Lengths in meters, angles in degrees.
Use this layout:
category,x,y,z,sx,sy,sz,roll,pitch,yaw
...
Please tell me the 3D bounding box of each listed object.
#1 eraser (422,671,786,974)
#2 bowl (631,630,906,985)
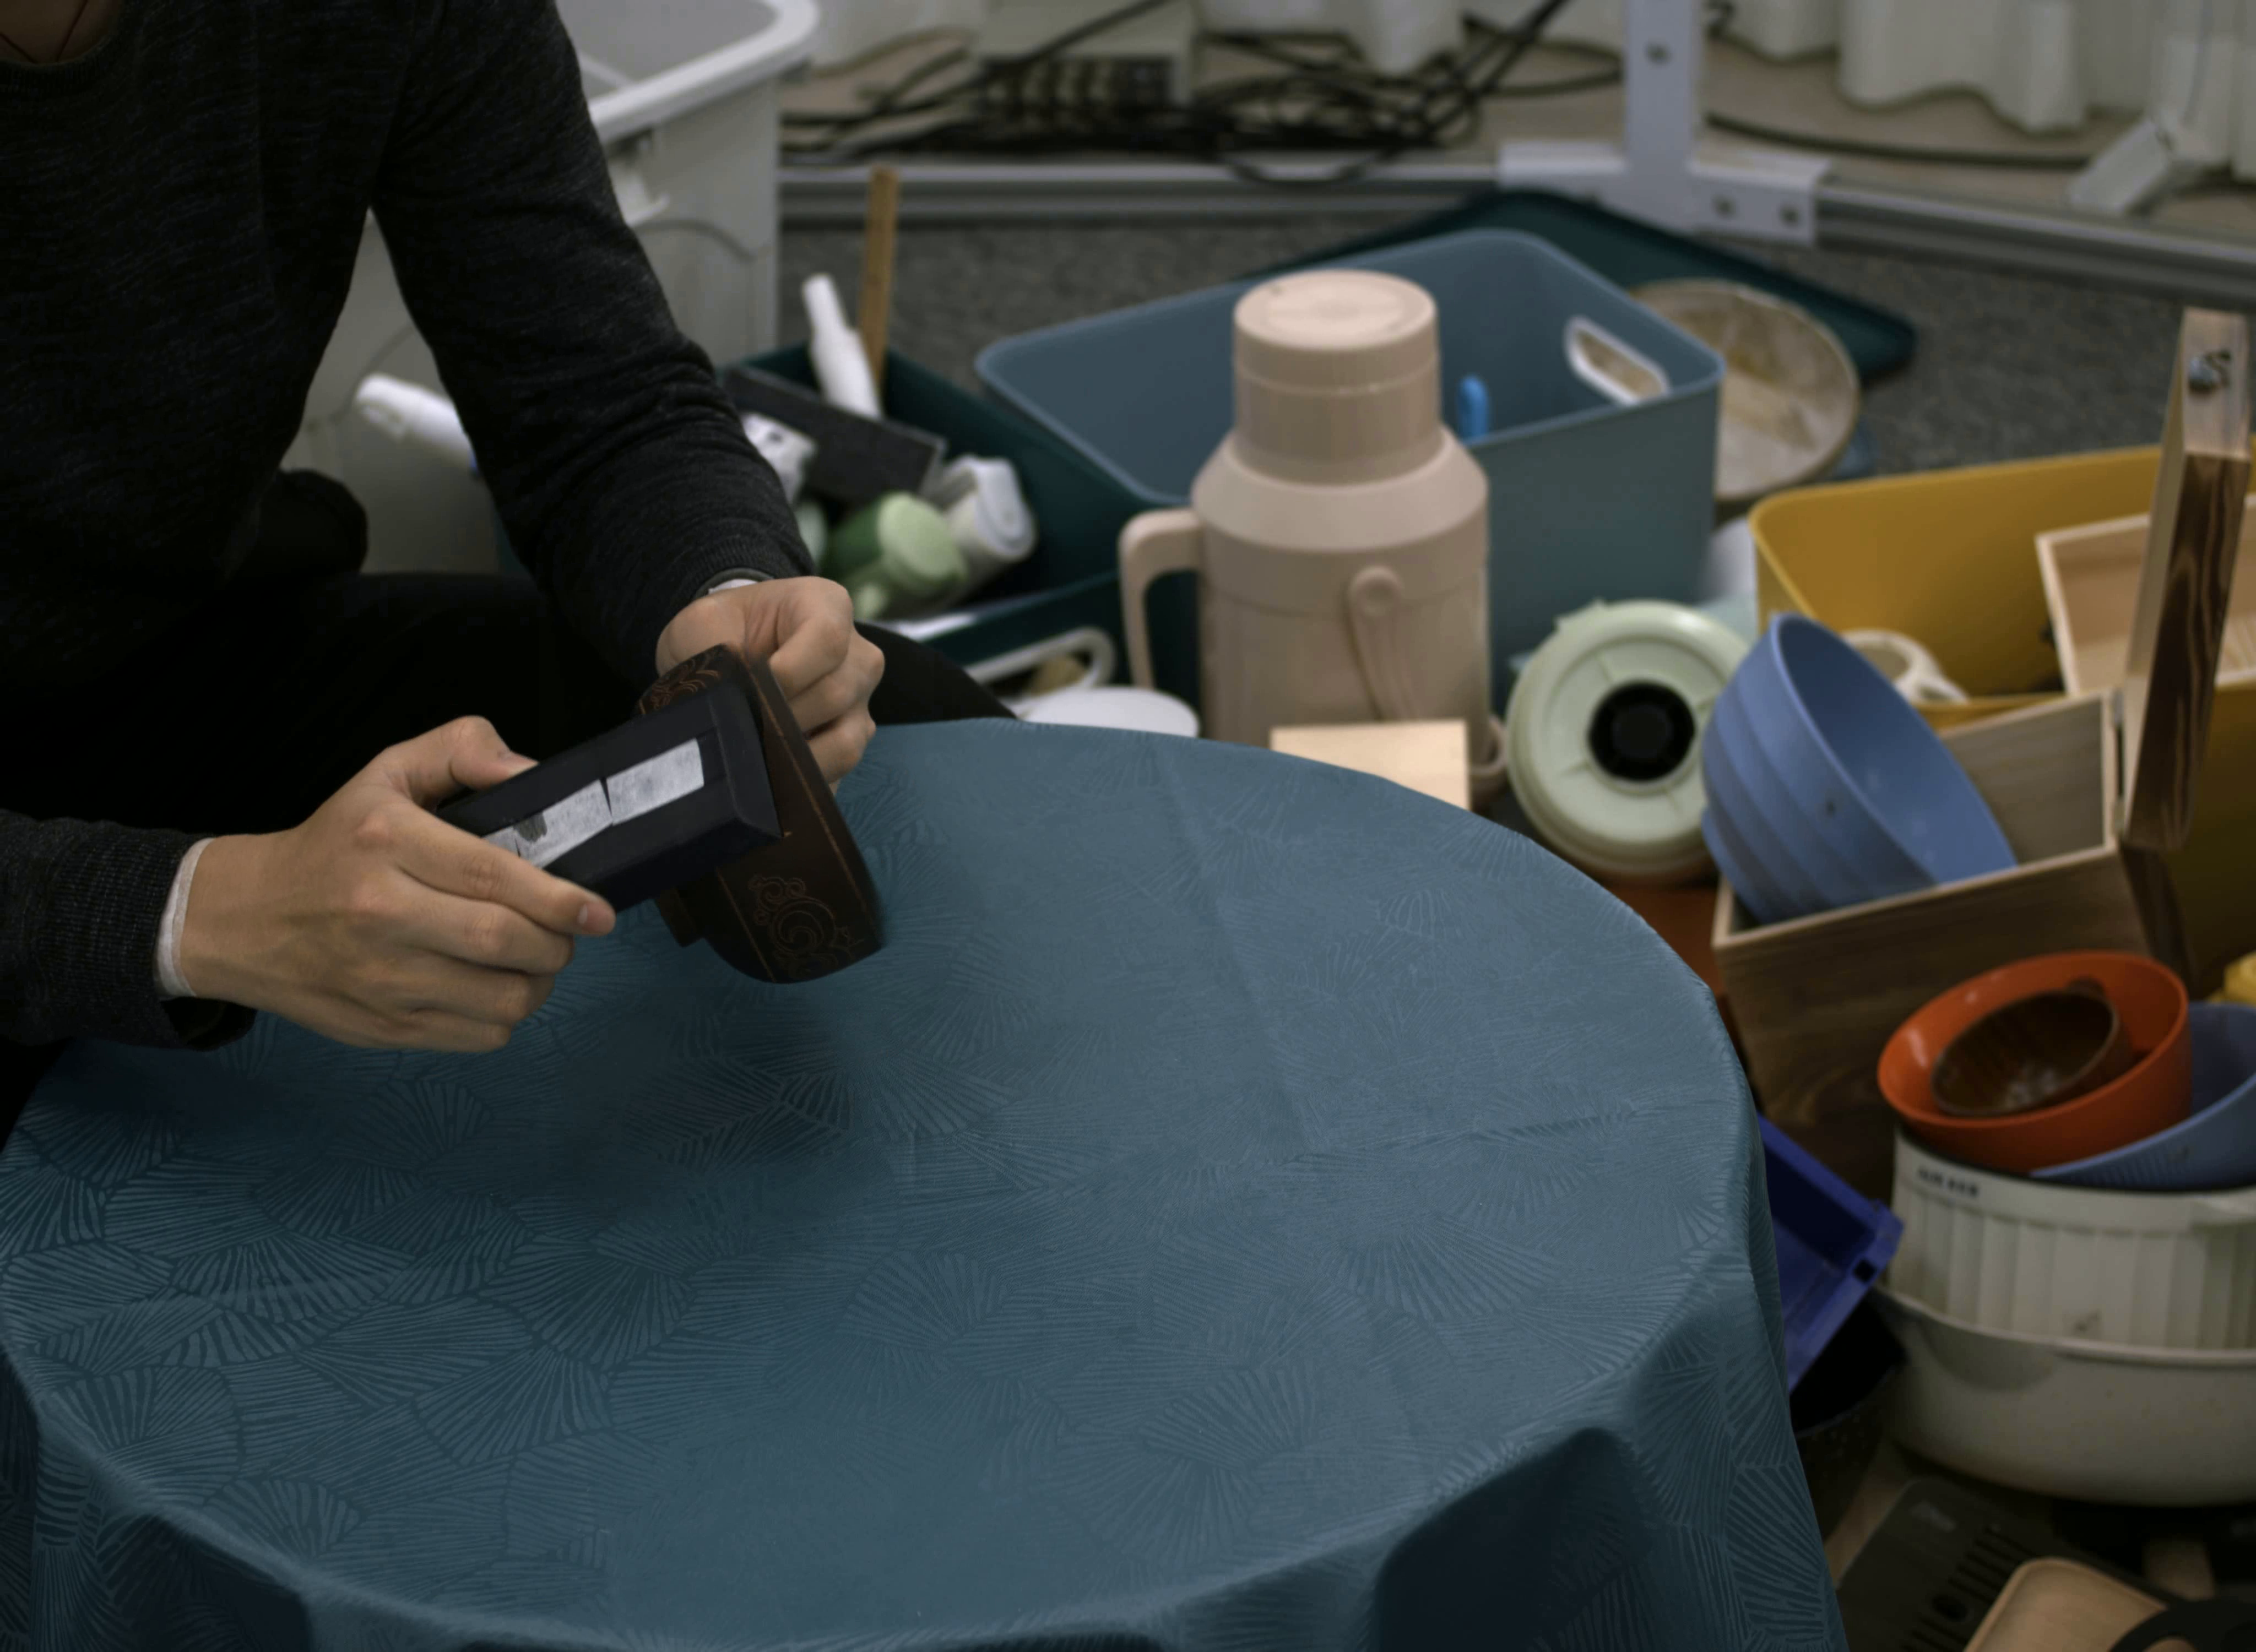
category,x,y,z,sx,sy,sz,roll,pitch,yaw
eraser,-0.170,-0.001,1.825,0.124,0.030,0.054,-26,62,21
bowl,-0.129,0.001,1.880,0.070,0.117,0.119,-26,30,-4
